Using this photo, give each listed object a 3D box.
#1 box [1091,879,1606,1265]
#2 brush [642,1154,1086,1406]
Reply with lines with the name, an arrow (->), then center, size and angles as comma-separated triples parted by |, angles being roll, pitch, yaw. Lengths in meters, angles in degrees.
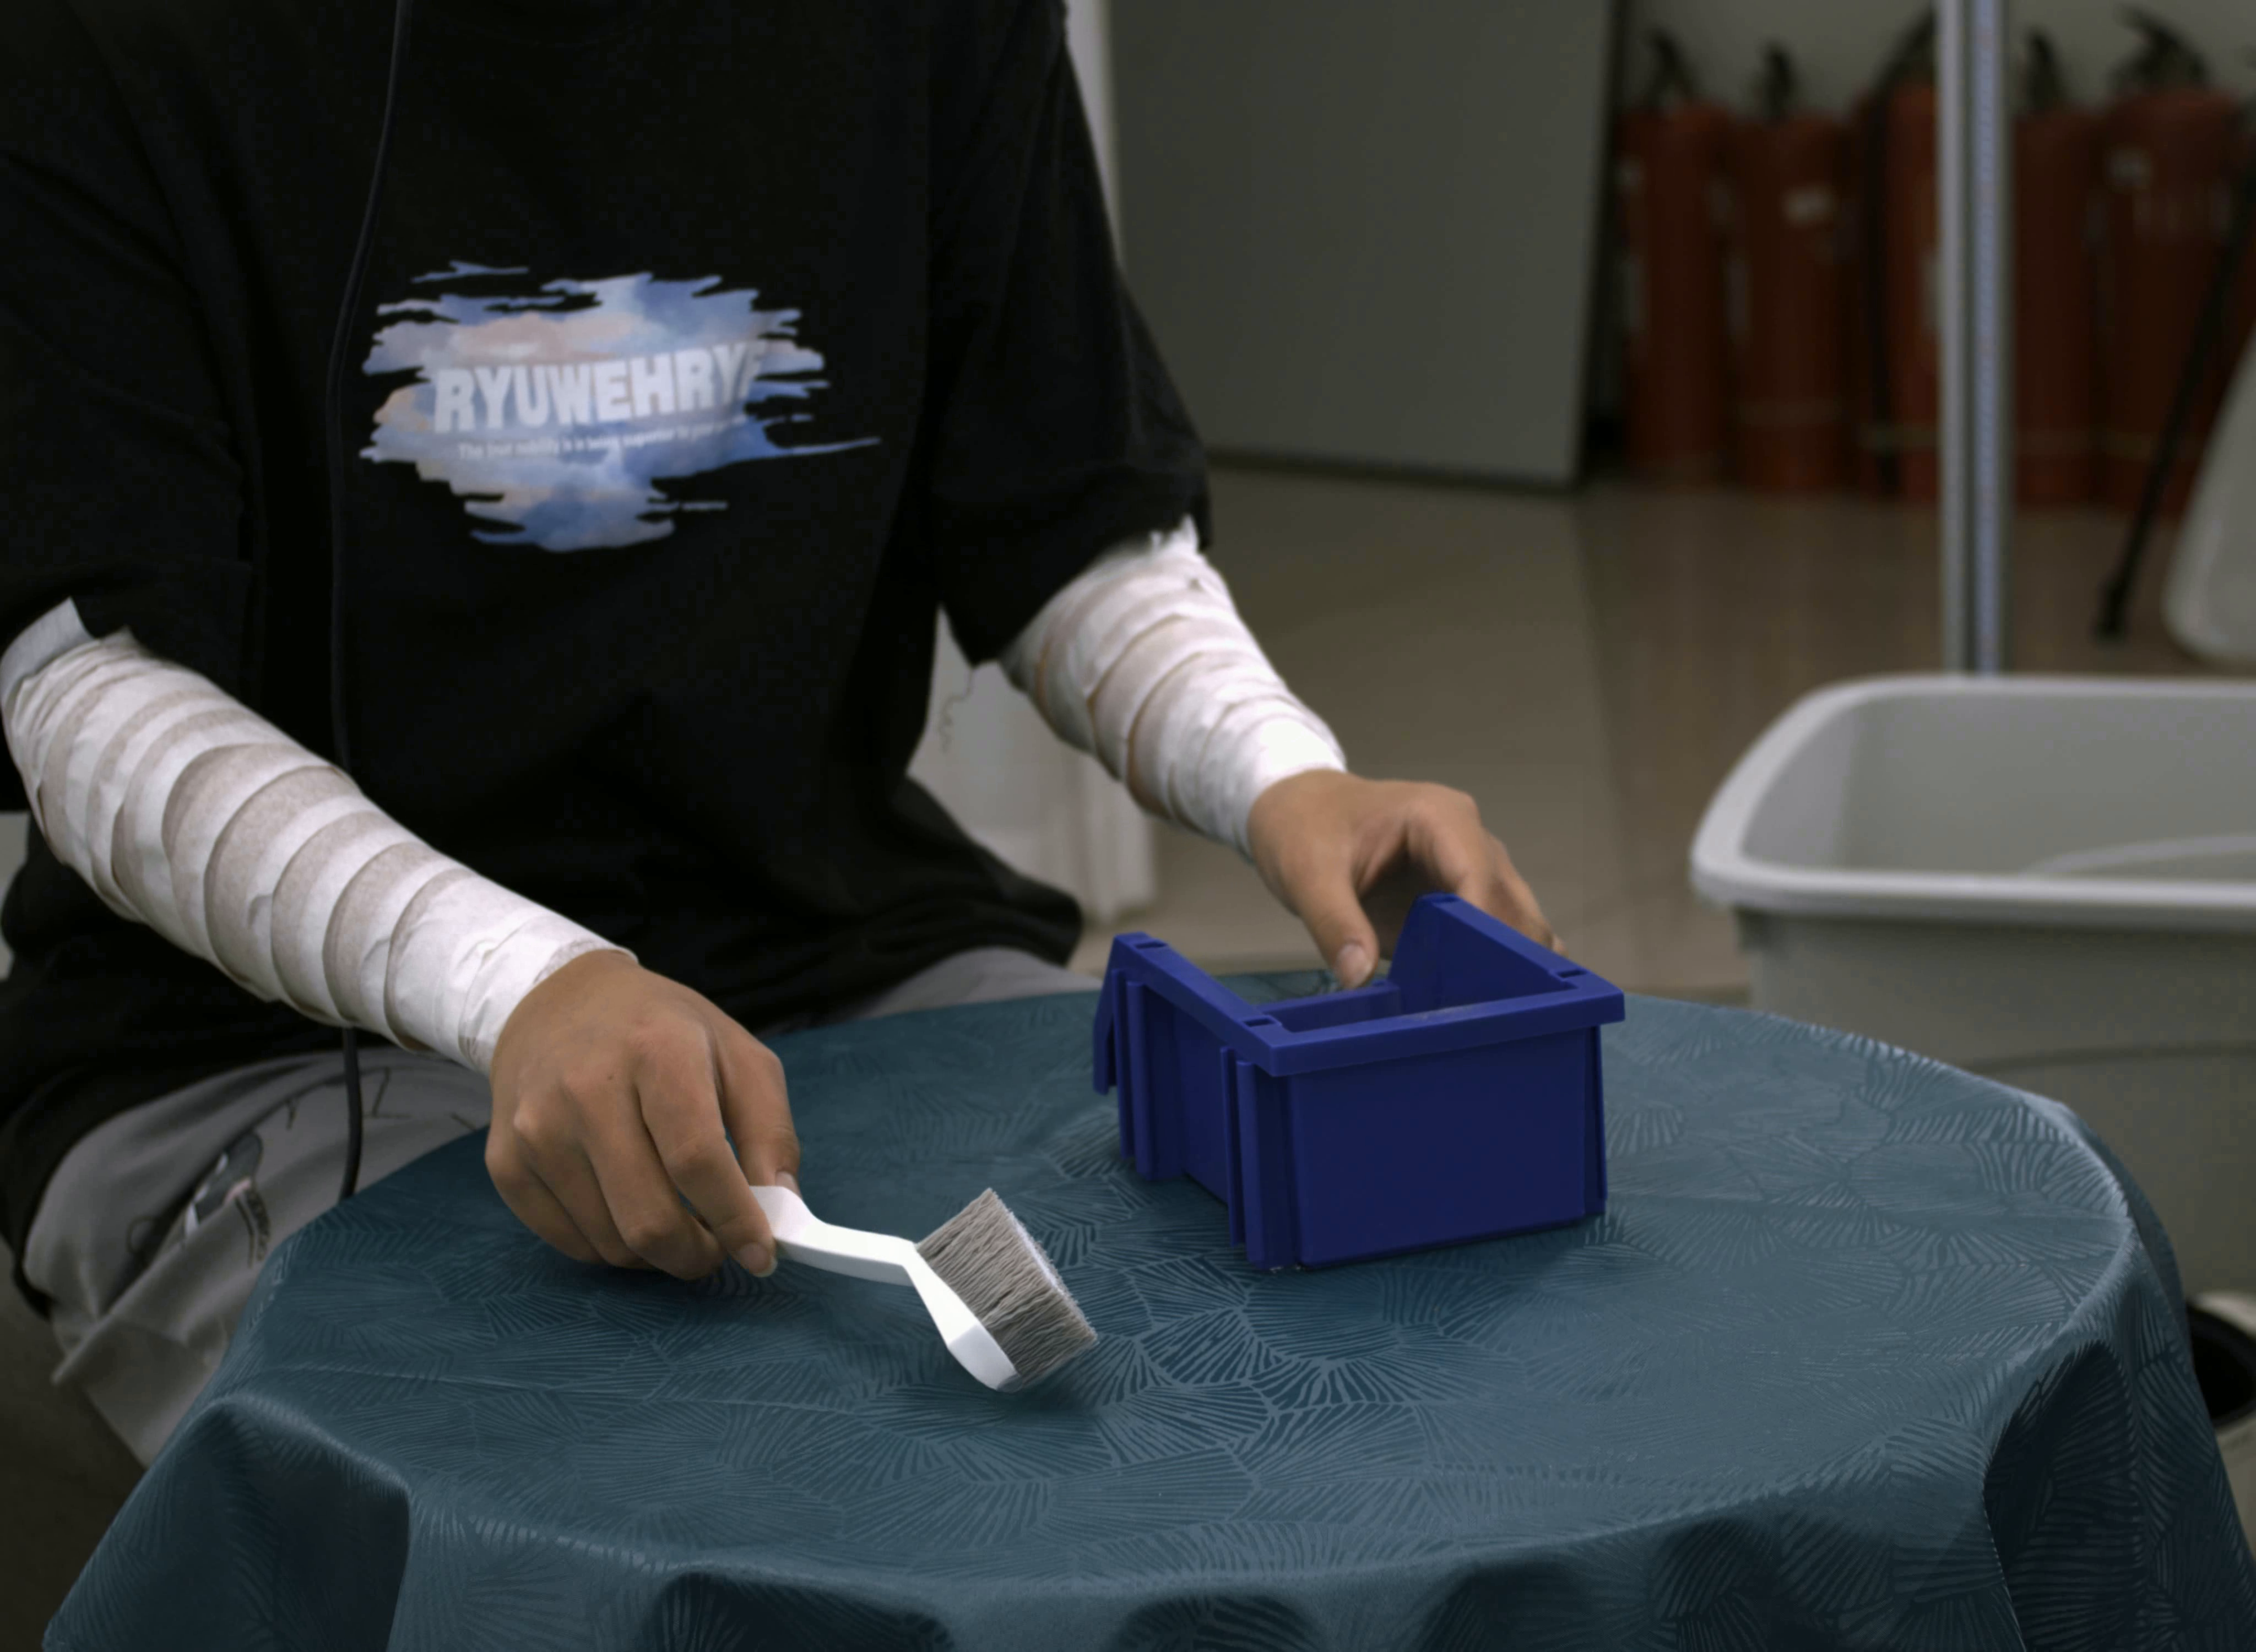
box -> 0.067, 0.077, 1.763 | 0.122, 0.083, 0.181 | -8, 15, -16
brush -> -0.083, 0.122, 1.667 | 0.050, 0.034, 0.246 | -51, 29, -10
